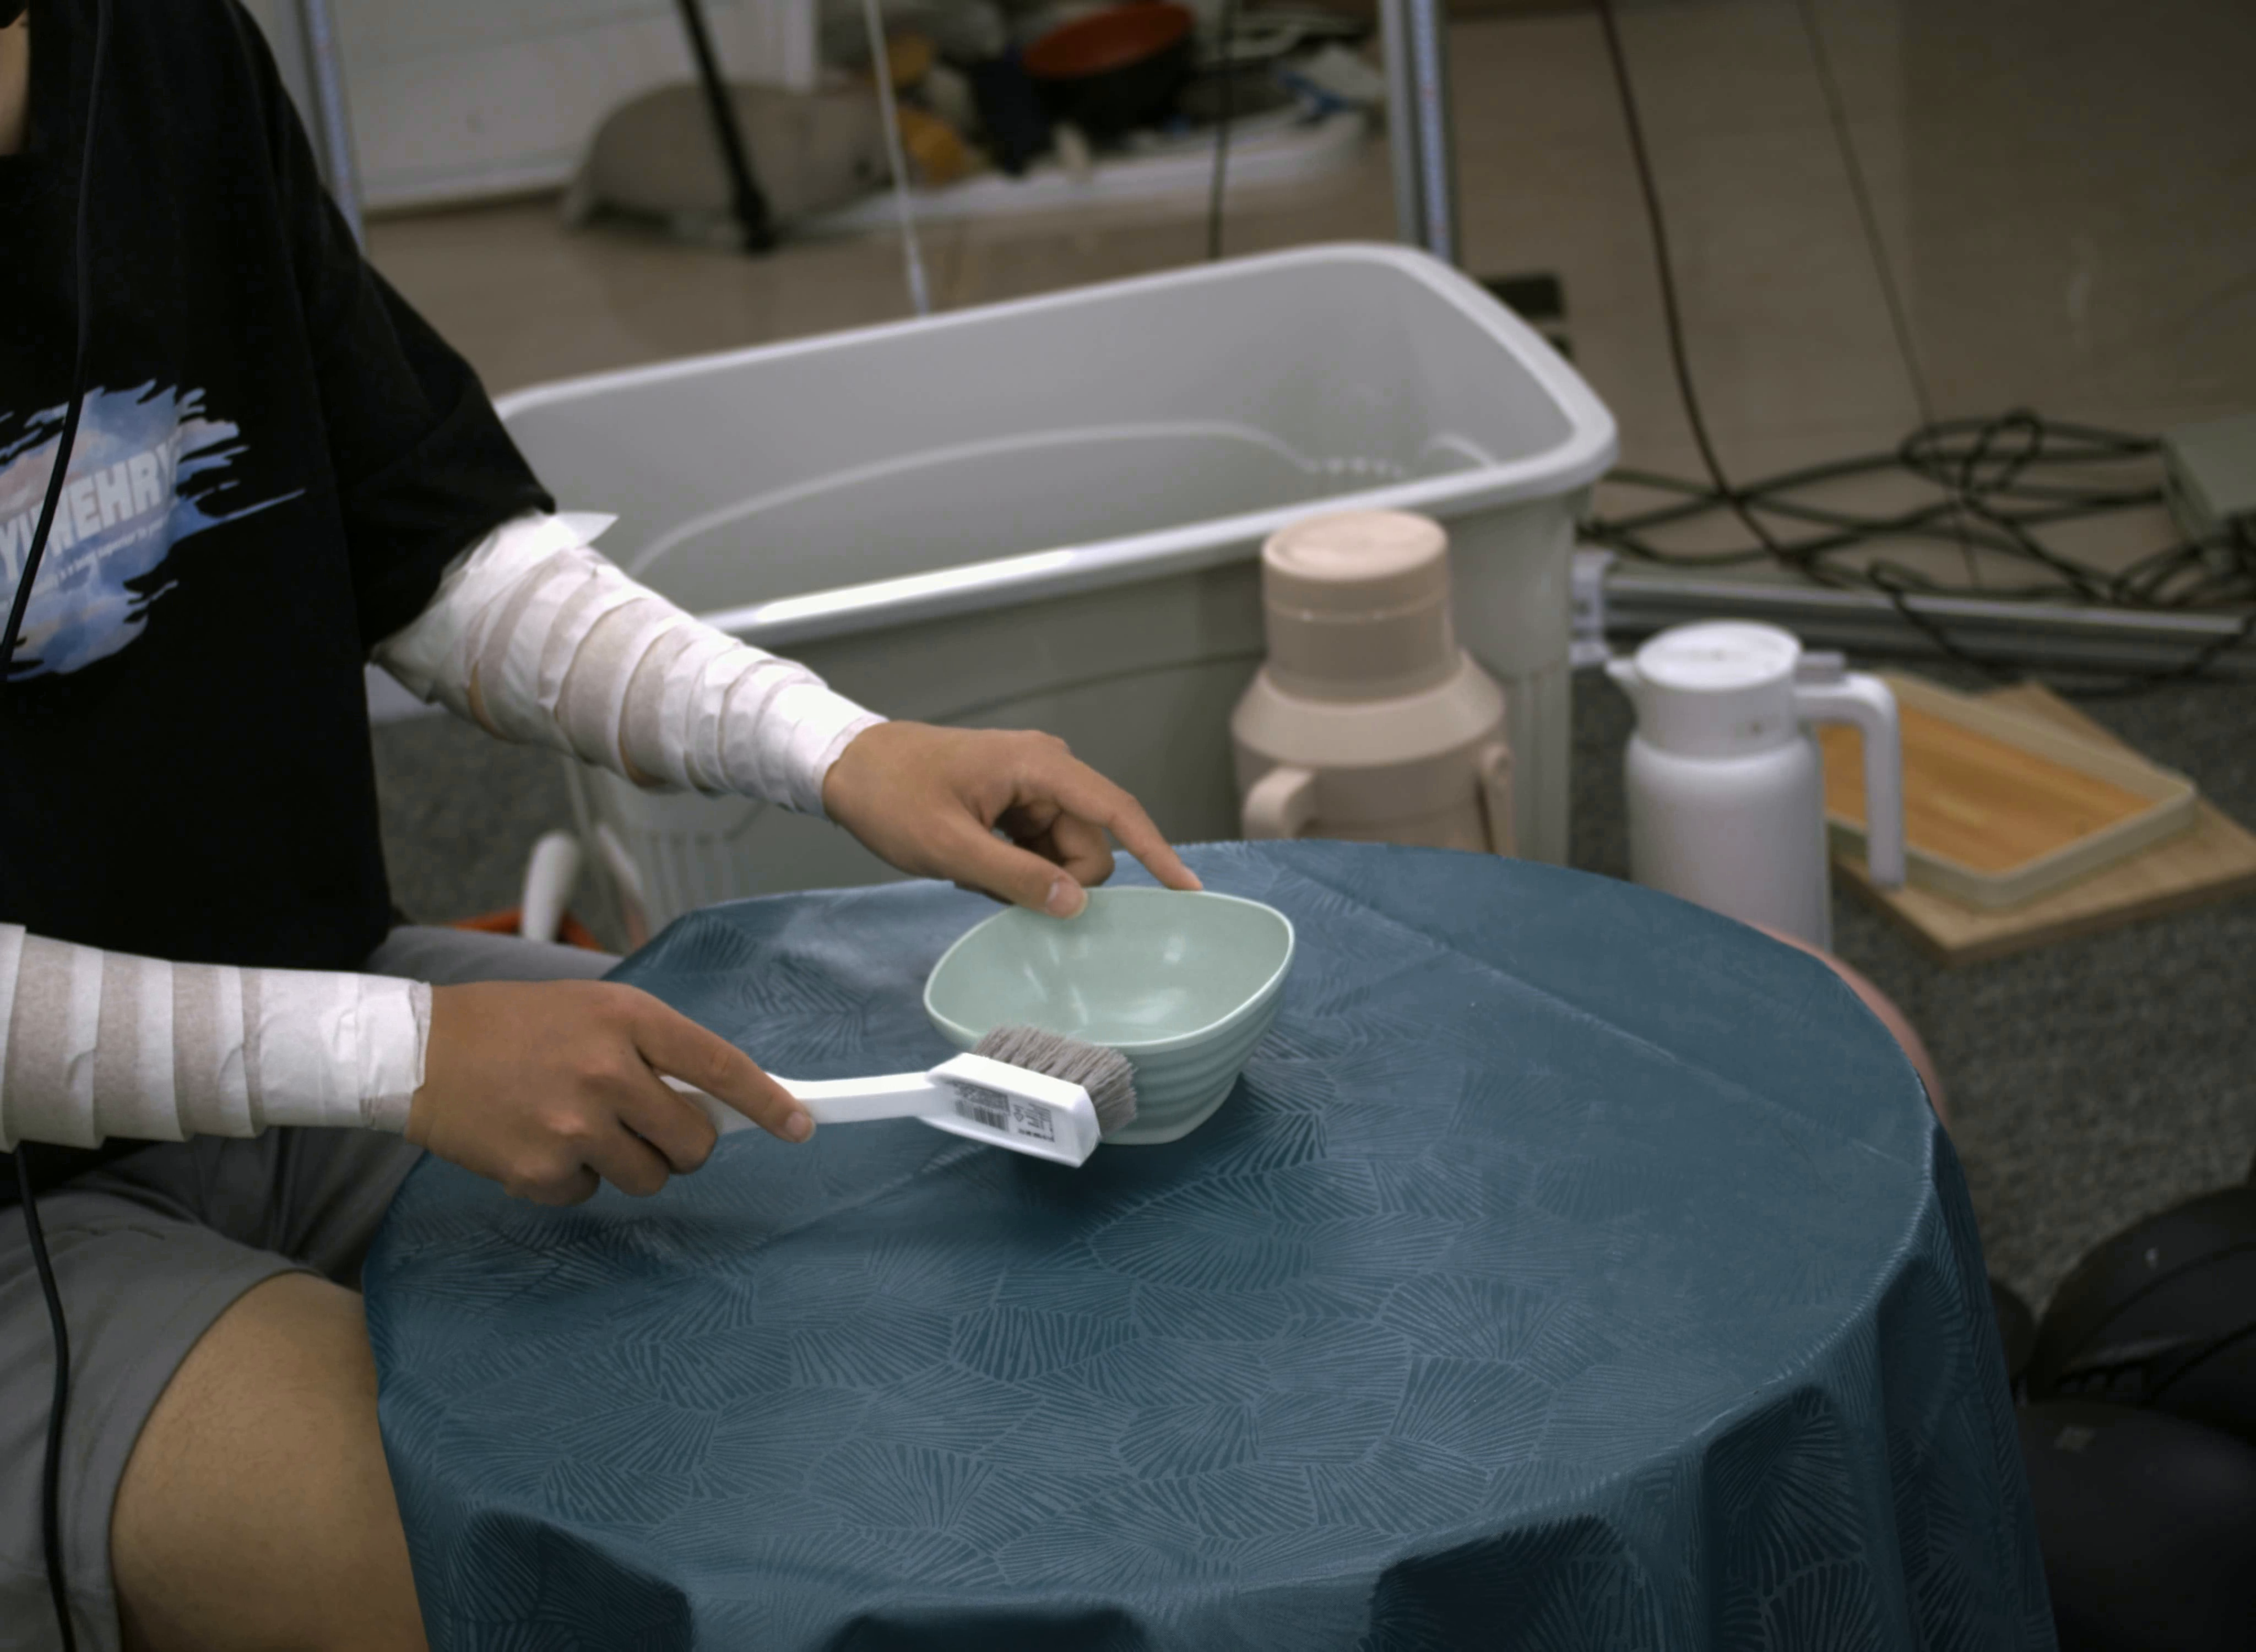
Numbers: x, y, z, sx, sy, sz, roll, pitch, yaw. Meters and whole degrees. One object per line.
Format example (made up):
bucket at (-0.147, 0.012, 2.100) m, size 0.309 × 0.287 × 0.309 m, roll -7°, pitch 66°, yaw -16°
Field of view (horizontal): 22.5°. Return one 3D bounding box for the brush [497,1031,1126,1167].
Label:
brush at (-0.120, 0.099, 2.150) m, size 0.243 × 0.035 × 0.049 m, roll 2°, pitch 31°, yaw 16°

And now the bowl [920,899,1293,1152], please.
bowl at (-0.005, 0.083, 2.209) m, size 0.151 × 0.059 × 0.149 m, roll -7°, pitch 23°, yaw 3°
